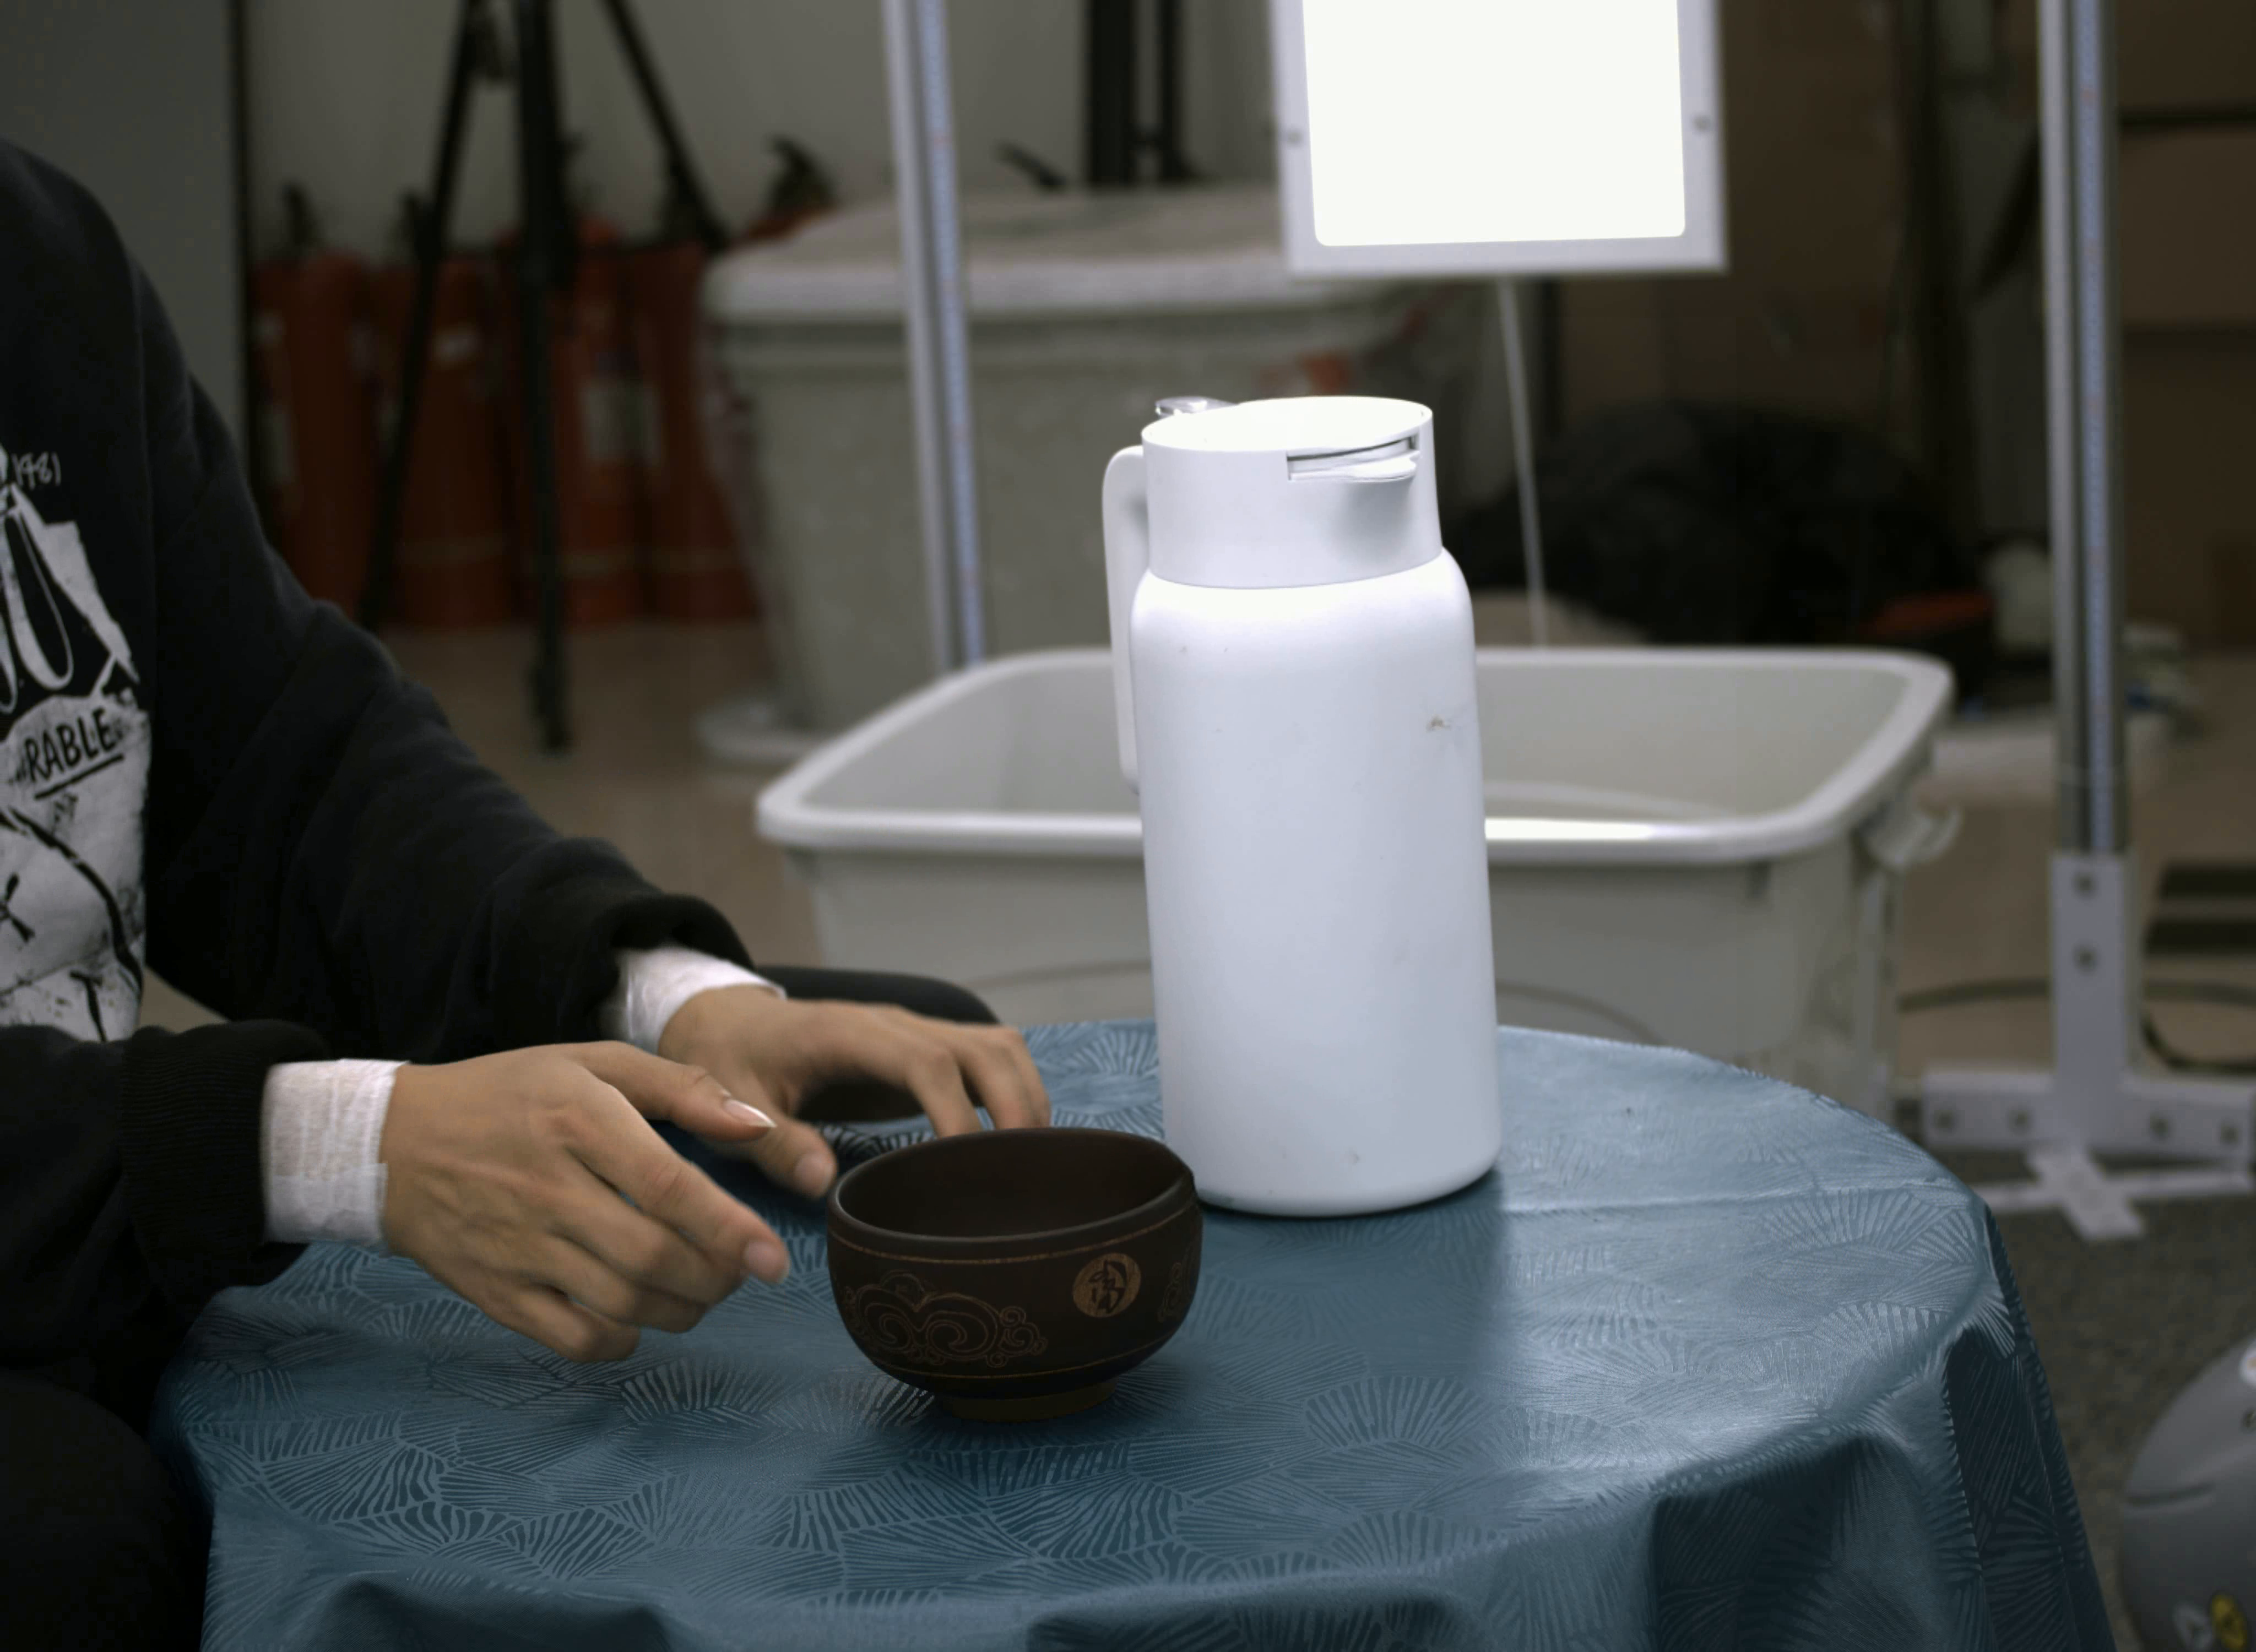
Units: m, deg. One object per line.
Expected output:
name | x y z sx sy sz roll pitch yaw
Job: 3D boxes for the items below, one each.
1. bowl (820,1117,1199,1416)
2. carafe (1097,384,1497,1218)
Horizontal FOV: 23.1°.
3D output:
bowl | -0.035 0.140 1.702 0.118 0.070 0.118 -4 15 0
carafe | 0.051 -0.011 1.880 0.121 0.270 0.176 -15 17 -29
